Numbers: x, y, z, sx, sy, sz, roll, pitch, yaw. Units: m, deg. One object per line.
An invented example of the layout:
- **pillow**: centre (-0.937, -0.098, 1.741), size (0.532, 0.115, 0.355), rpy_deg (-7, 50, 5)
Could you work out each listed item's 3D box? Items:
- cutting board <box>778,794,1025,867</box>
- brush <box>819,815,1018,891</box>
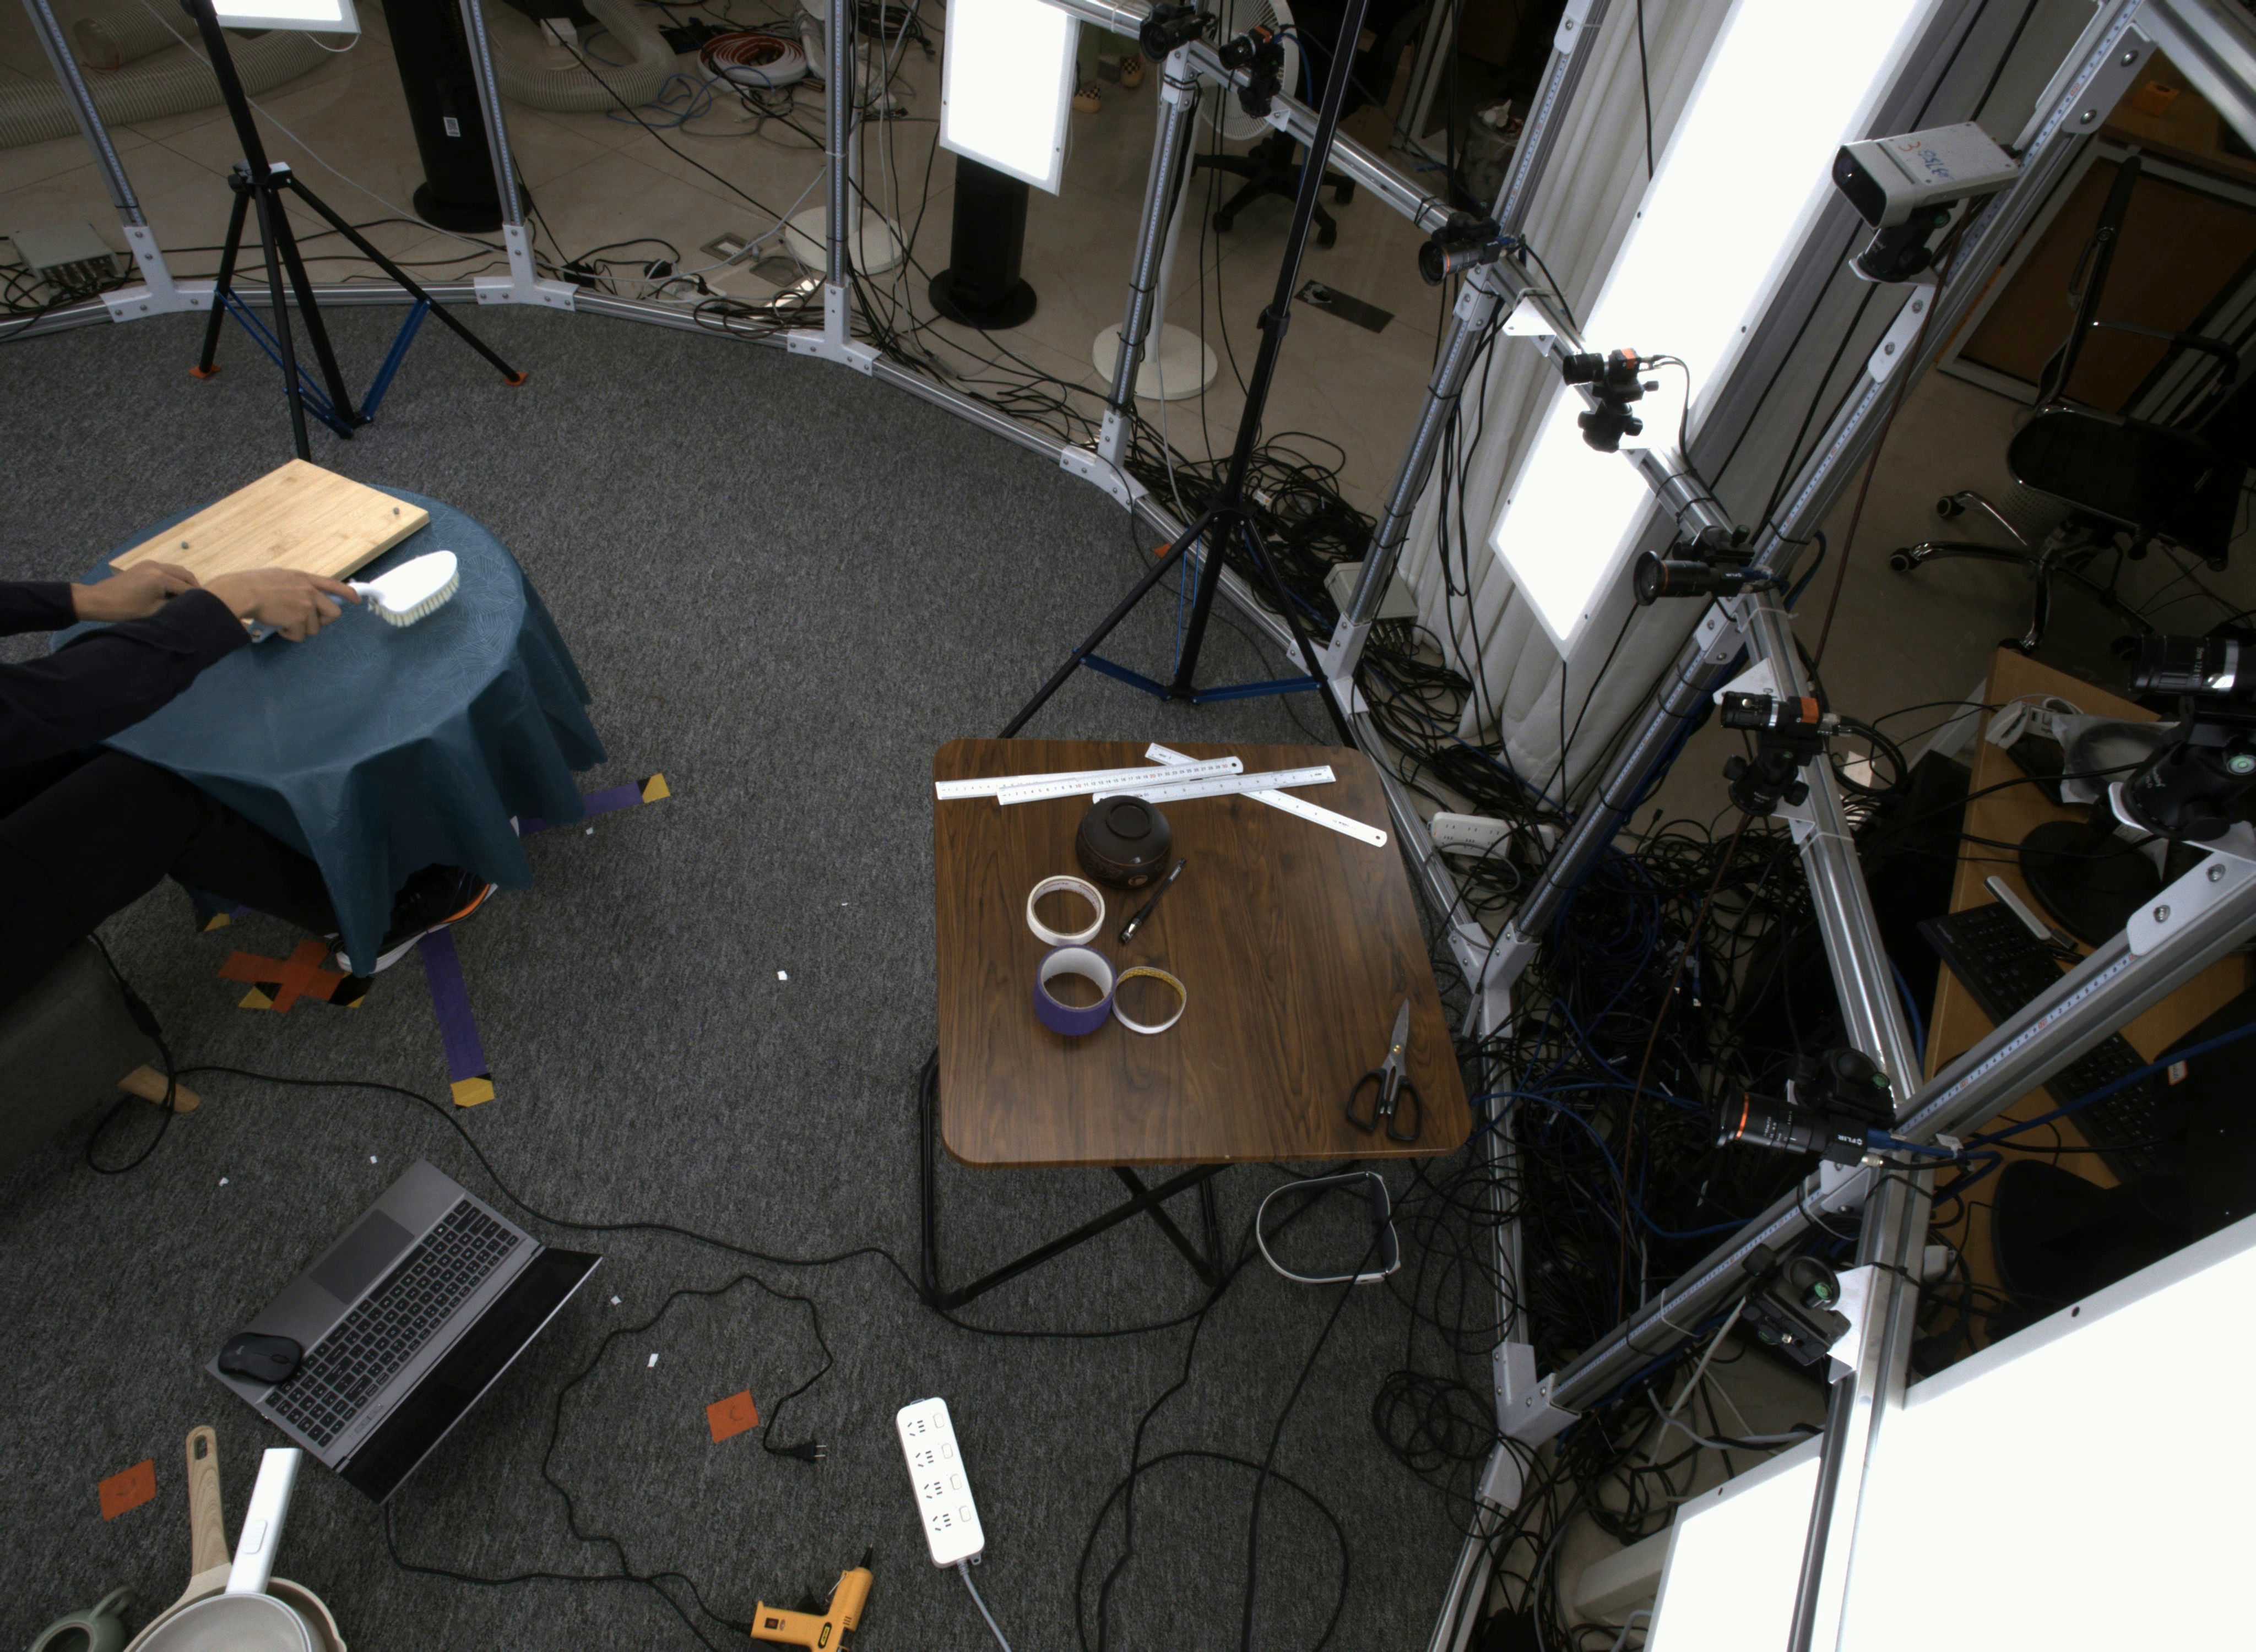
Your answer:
- **cutting board**: centre (-0.375, 0.002, 2.174), size (0.354, 0.024, 0.241), rpy_deg (-4, 24, -41)
- **brush**: centre (-0.313, 0.047, 1.932), size (0.332, 0.085, 0.081), rpy_deg (9, -12, -36)
